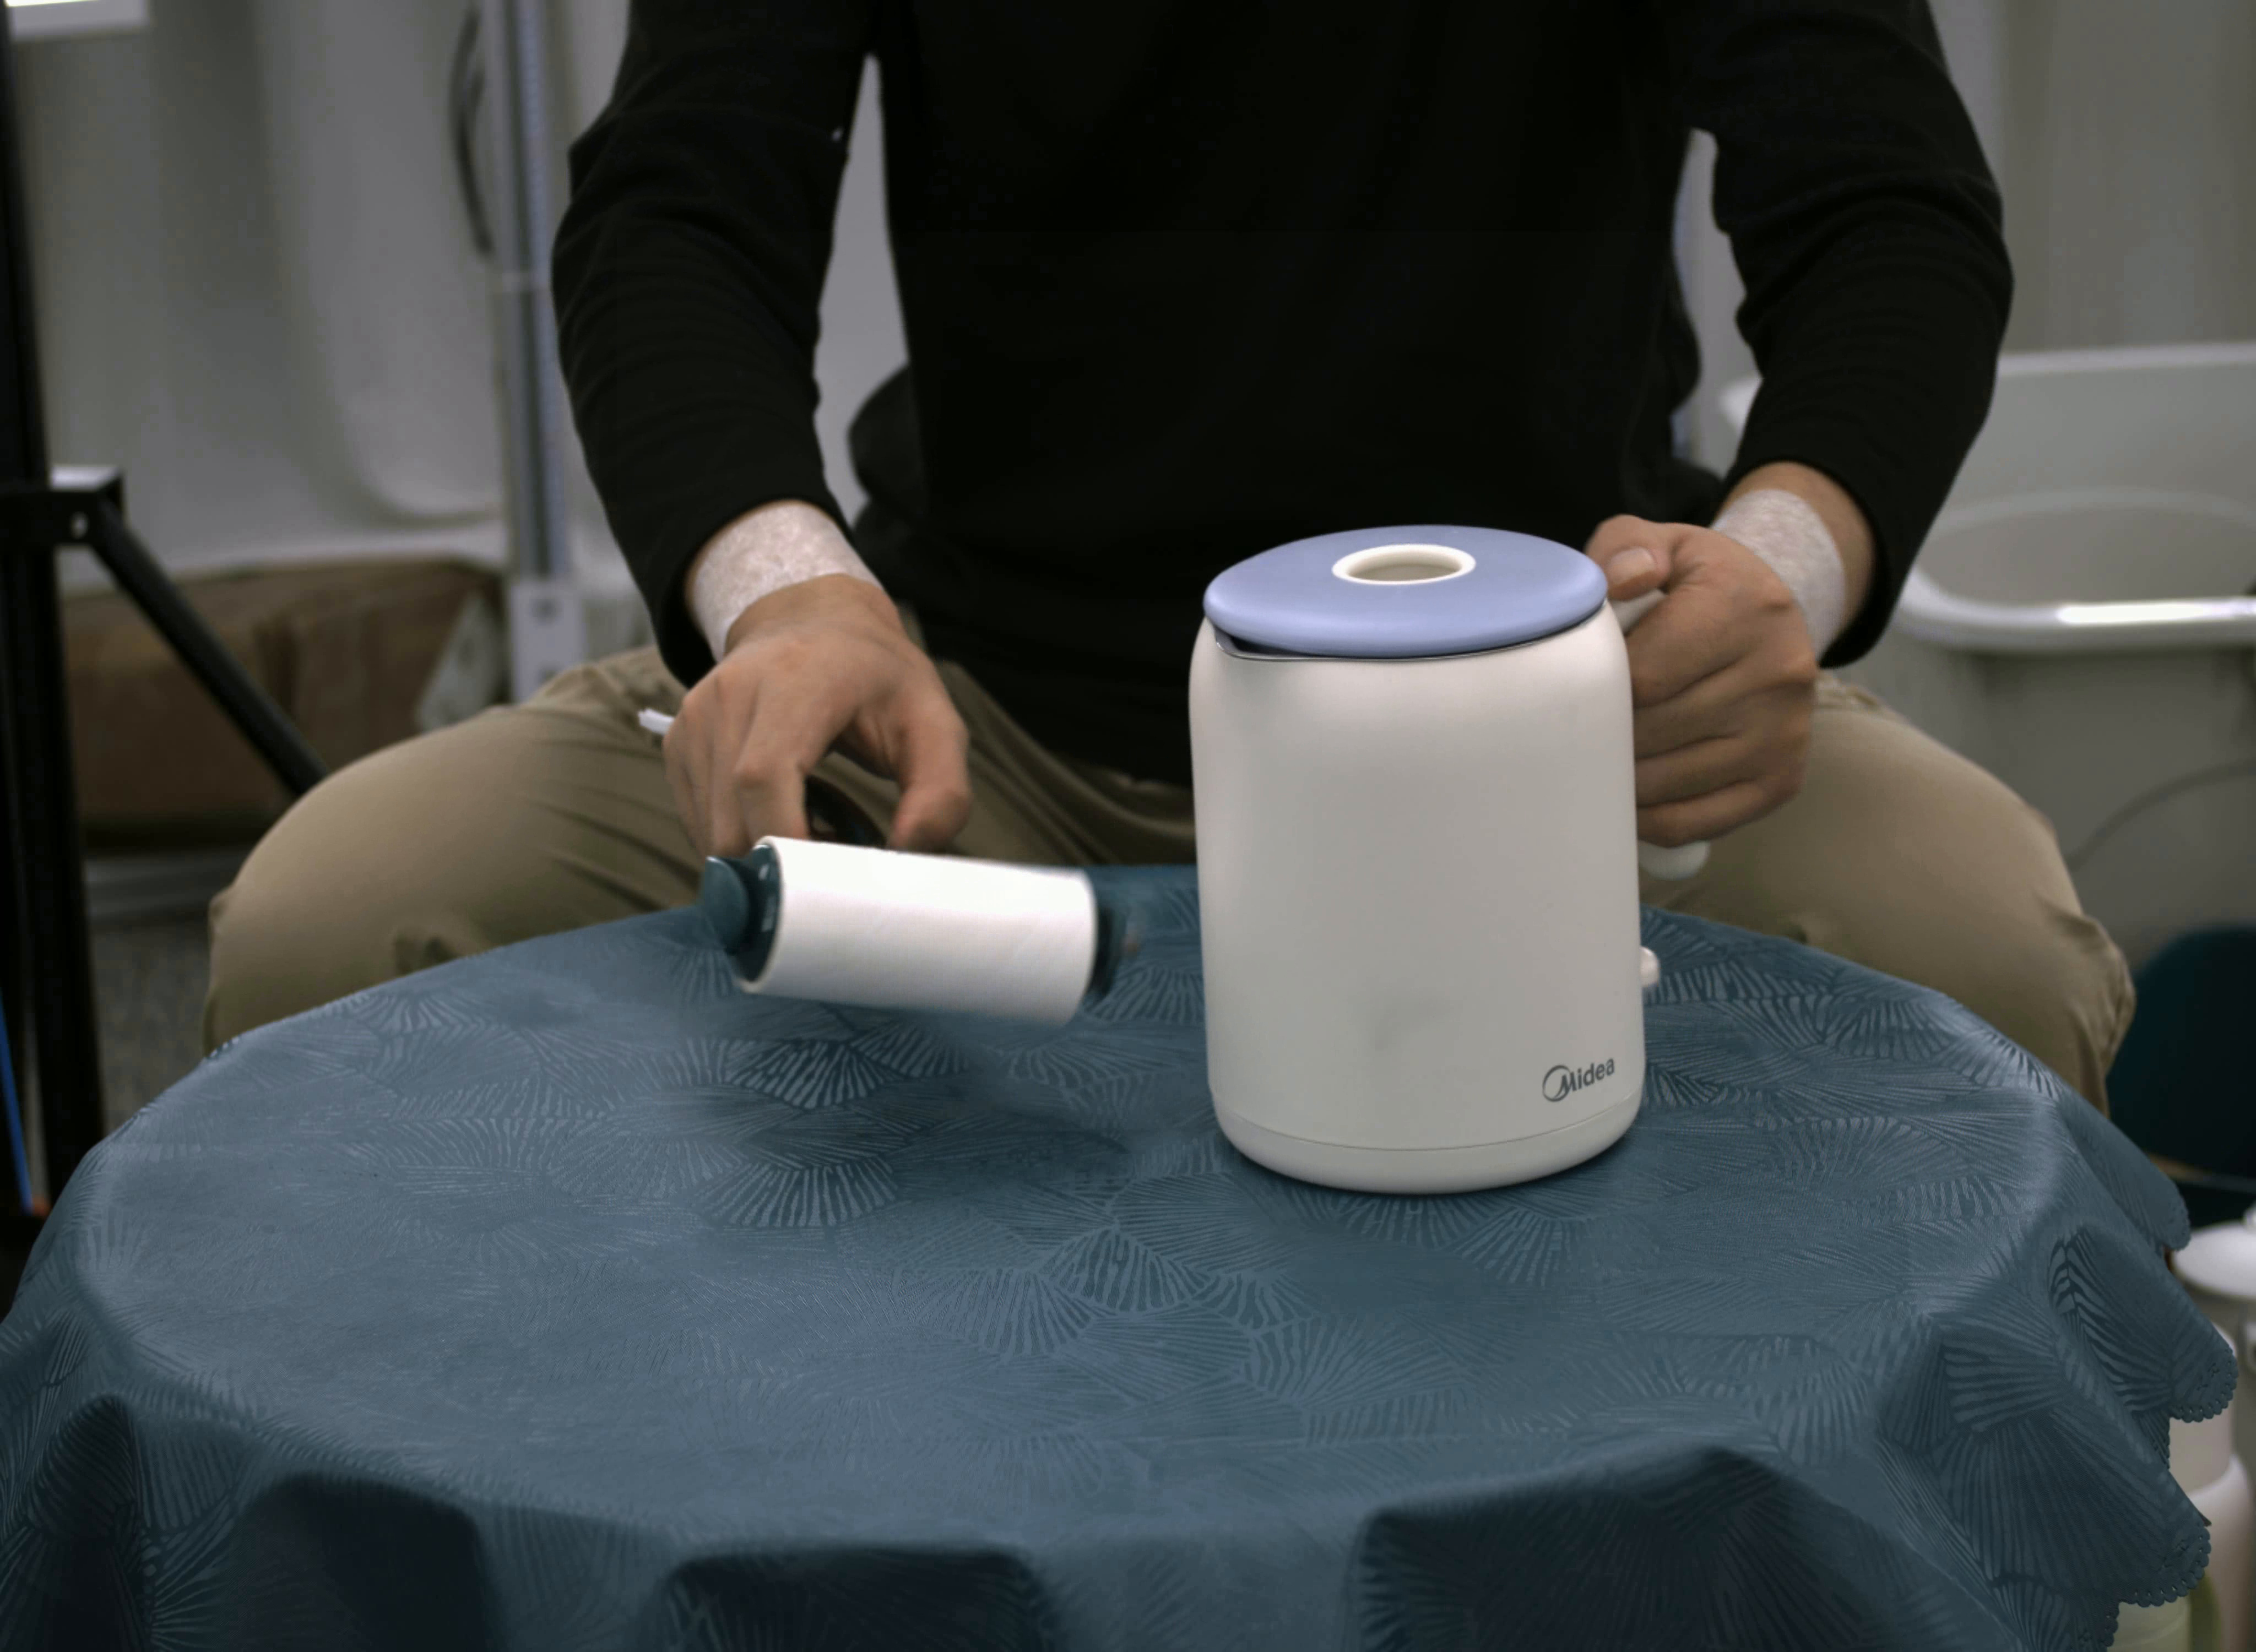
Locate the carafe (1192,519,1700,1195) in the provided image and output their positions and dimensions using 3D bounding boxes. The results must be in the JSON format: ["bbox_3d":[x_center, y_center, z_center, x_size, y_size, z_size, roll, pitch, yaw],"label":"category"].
[{"bbox_3d":[0.105,0.003,1.585,0.186,0.182,0.135,-15,21,-38],"label":"carafe"}]

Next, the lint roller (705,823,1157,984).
[{"bbox_3d":[-0.083,0.009,1.660,0.132,0.048,0.183,1,13,-20],"label":"lint roller"}]
